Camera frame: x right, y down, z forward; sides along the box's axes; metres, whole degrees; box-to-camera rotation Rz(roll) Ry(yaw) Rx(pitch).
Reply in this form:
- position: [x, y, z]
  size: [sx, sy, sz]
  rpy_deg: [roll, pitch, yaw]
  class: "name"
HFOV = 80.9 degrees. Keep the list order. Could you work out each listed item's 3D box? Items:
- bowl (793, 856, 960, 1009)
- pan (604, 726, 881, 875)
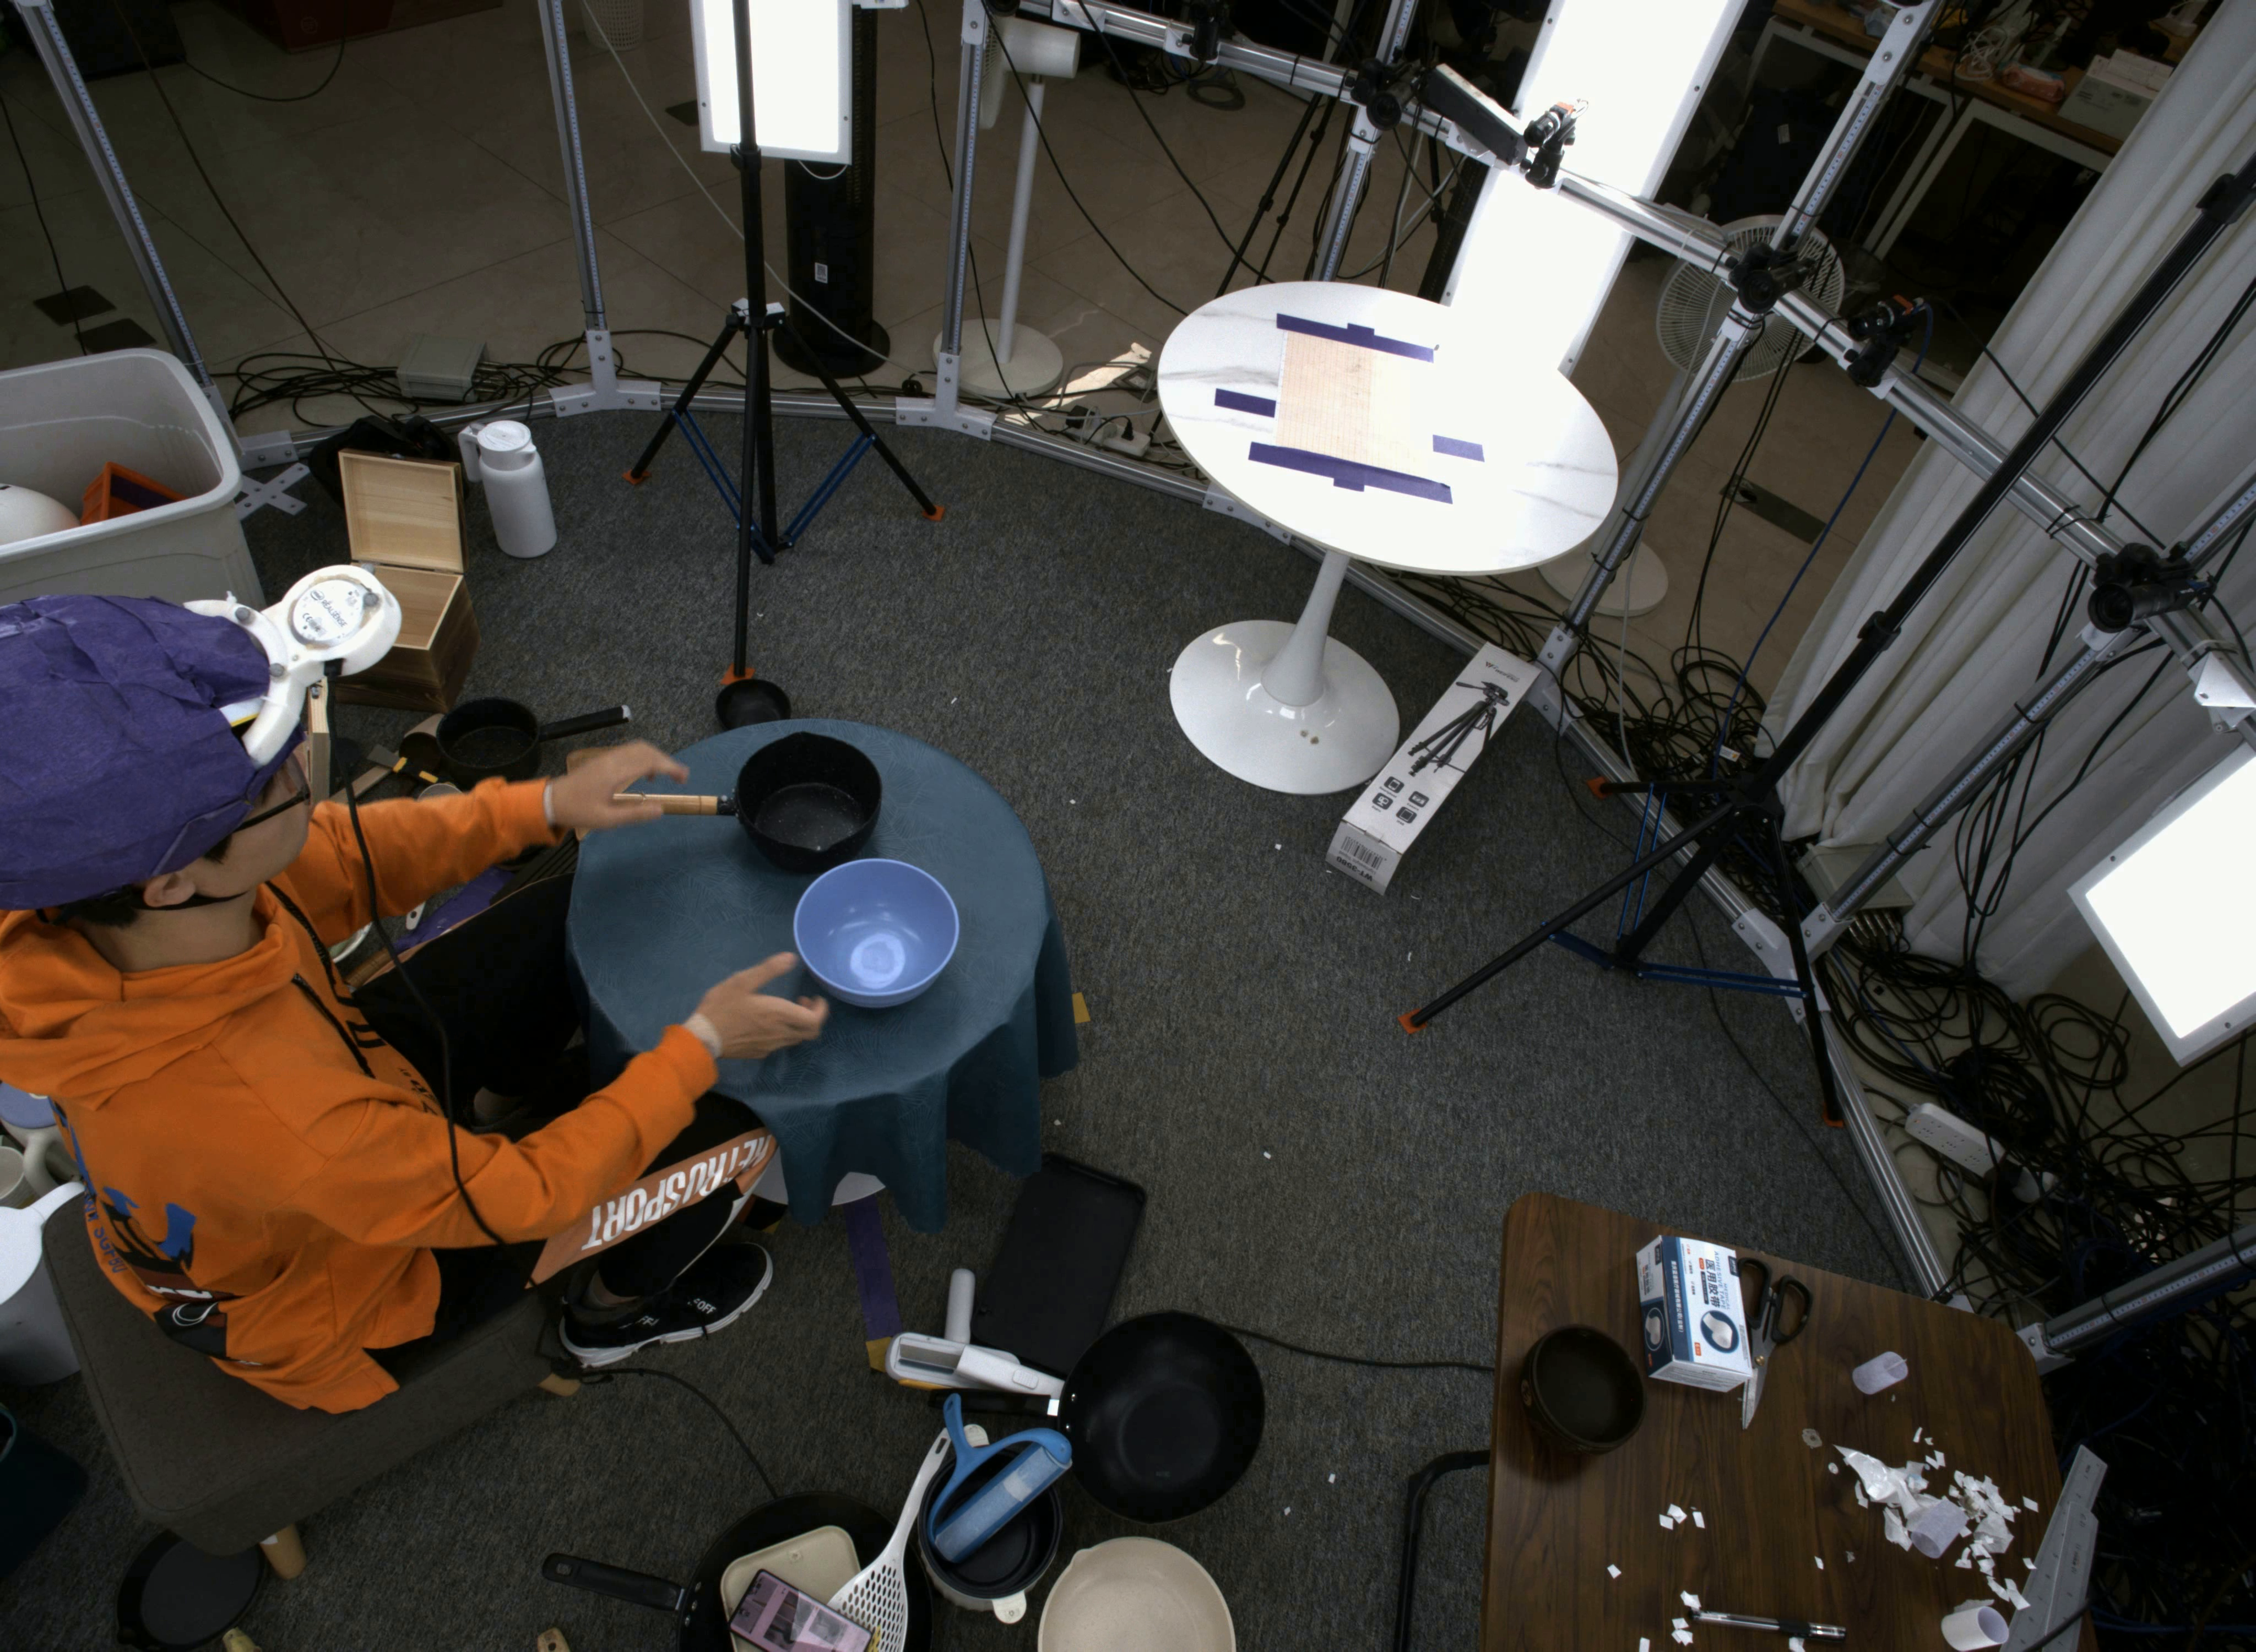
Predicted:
- position: [-0.305, 0.143, 1.577]
  size: [0.196, 0.097, 0.193]
  rpy_deg: [8, 52, -9]
  class: "bowl"
- position: [-0.487, -0.021, 1.643]
  size: [0.345, 0.110, 0.203]
  rpy_deg: [-7, 57, -21]
  class: "pan"
